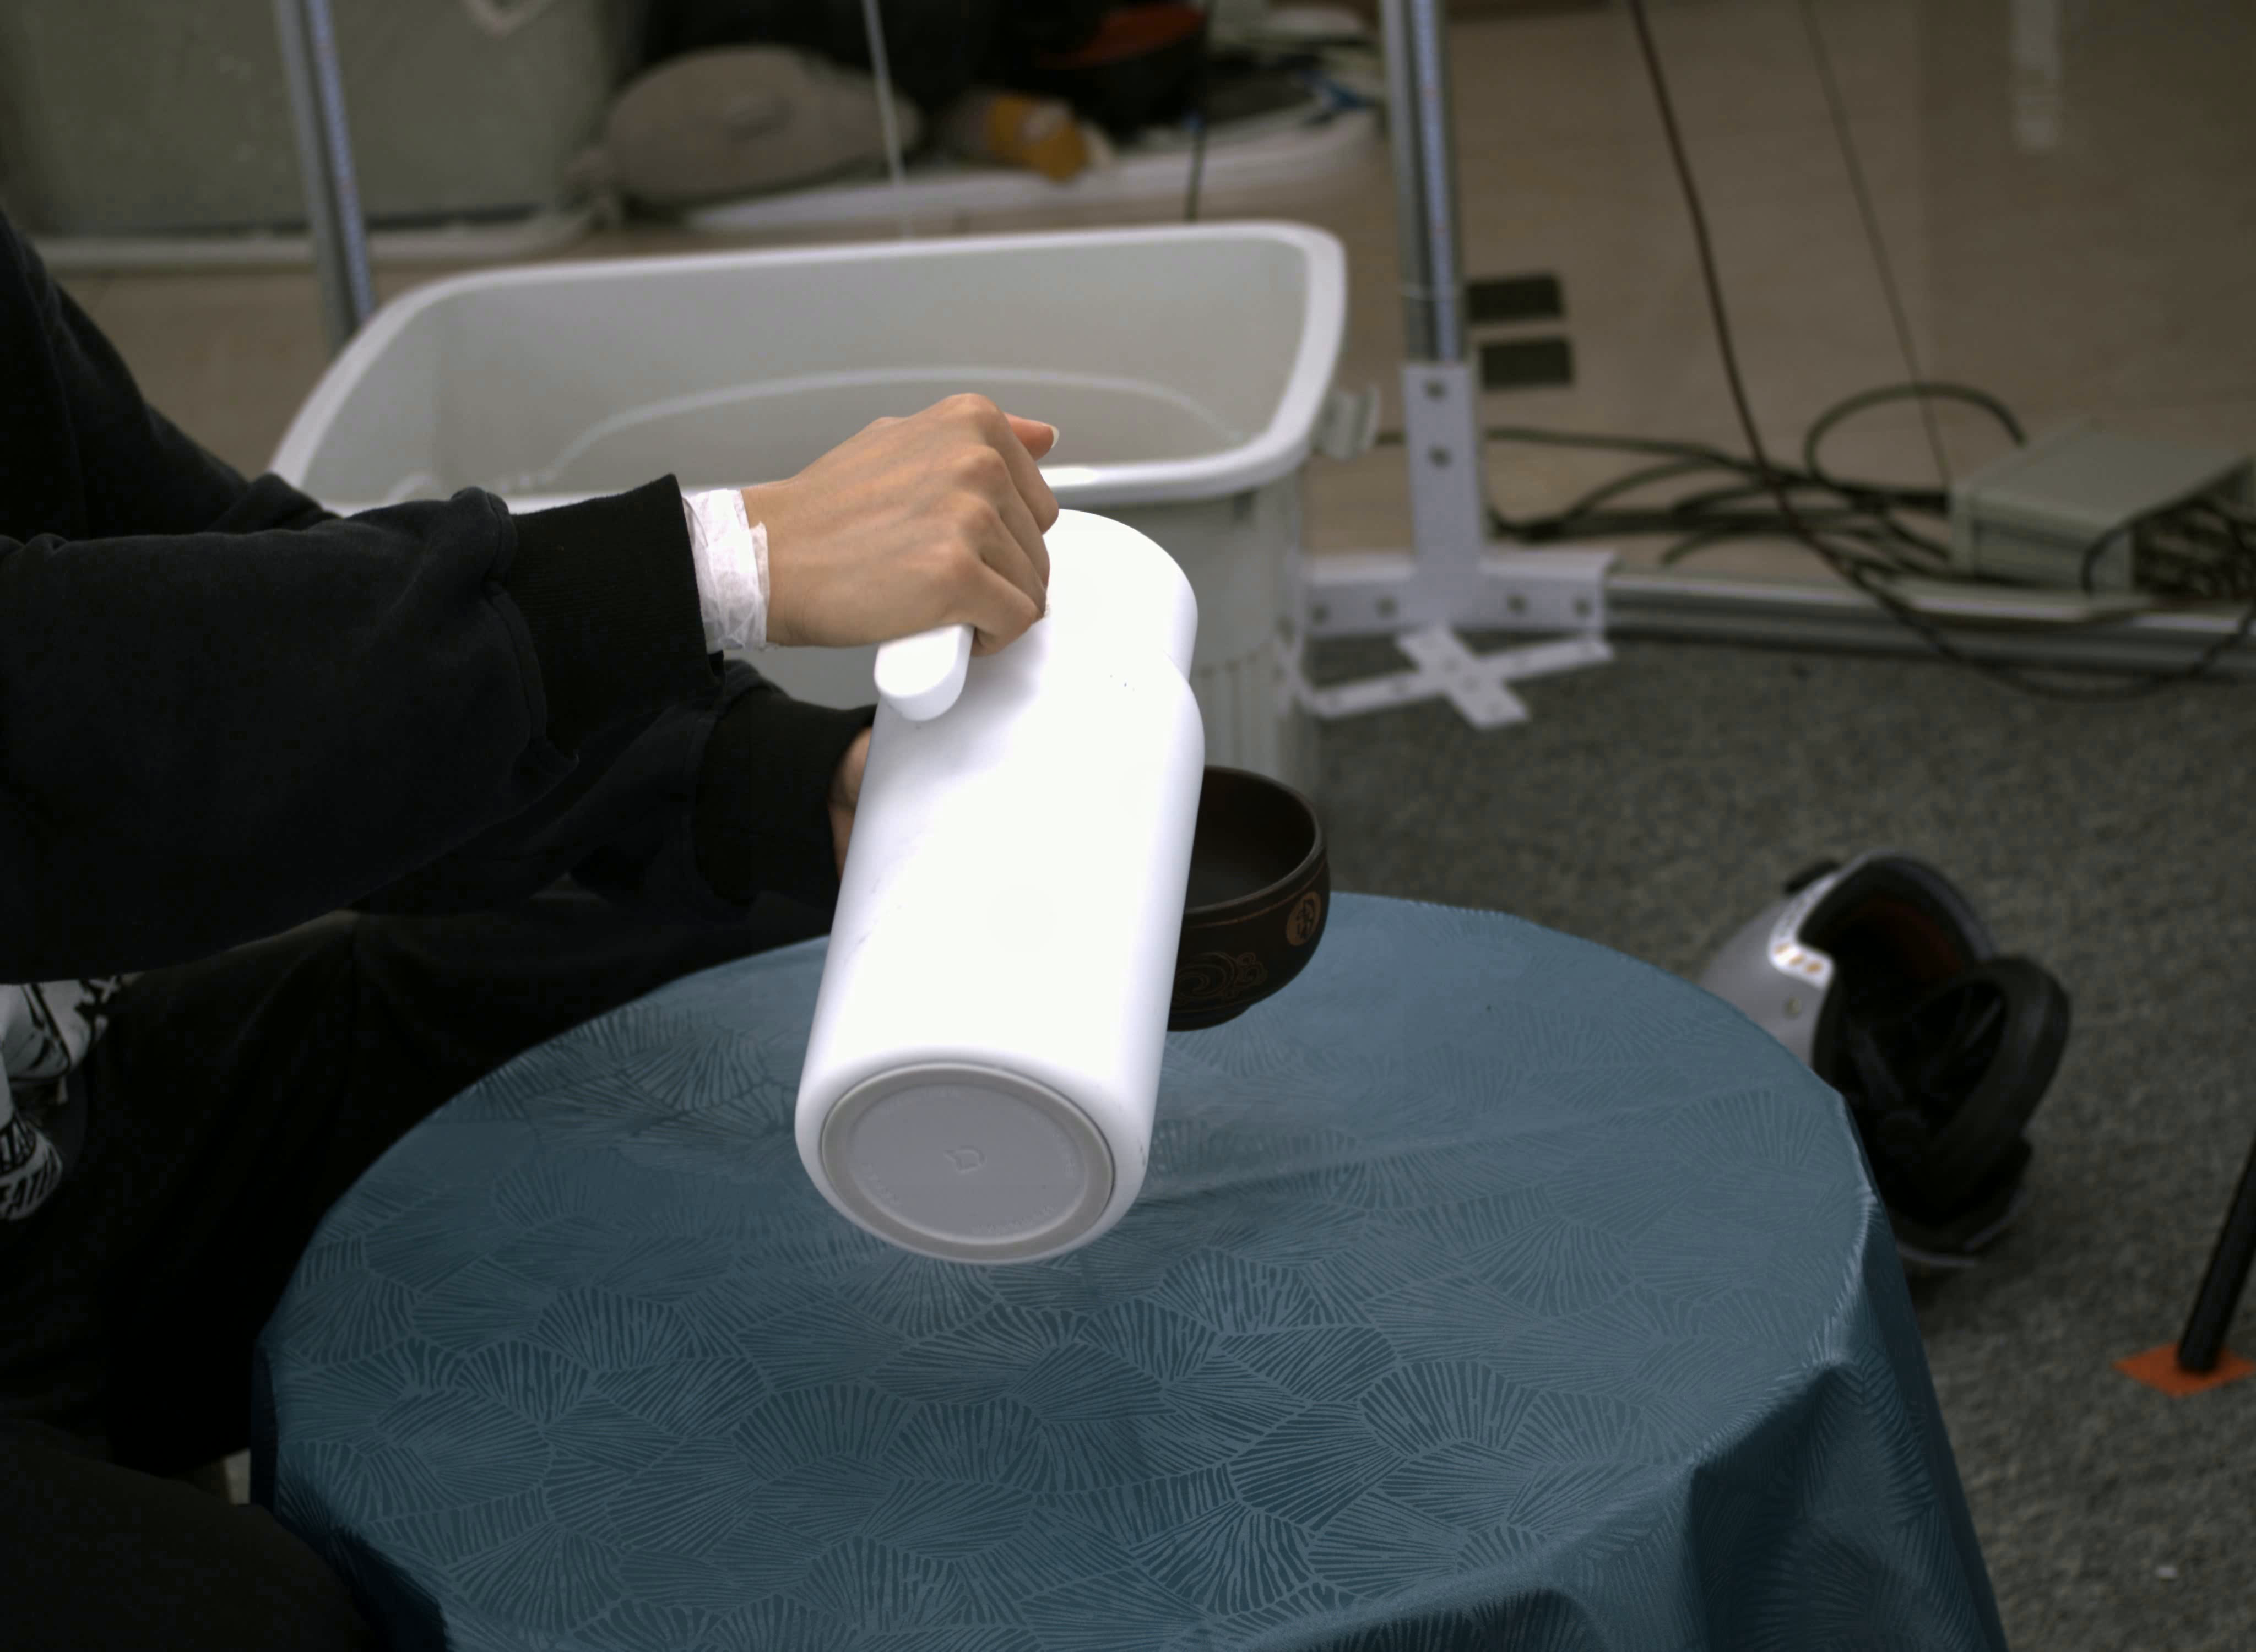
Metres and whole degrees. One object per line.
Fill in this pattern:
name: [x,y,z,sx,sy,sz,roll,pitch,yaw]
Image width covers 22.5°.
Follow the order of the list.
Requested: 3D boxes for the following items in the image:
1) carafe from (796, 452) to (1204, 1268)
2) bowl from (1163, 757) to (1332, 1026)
carafe: [-0.042,0.005,1.930,0.124,0.176,0.264,-5,46,18]
bowl: [0.019,0.031,2.124,0.118,0.071,0.116,-4,30,2]
